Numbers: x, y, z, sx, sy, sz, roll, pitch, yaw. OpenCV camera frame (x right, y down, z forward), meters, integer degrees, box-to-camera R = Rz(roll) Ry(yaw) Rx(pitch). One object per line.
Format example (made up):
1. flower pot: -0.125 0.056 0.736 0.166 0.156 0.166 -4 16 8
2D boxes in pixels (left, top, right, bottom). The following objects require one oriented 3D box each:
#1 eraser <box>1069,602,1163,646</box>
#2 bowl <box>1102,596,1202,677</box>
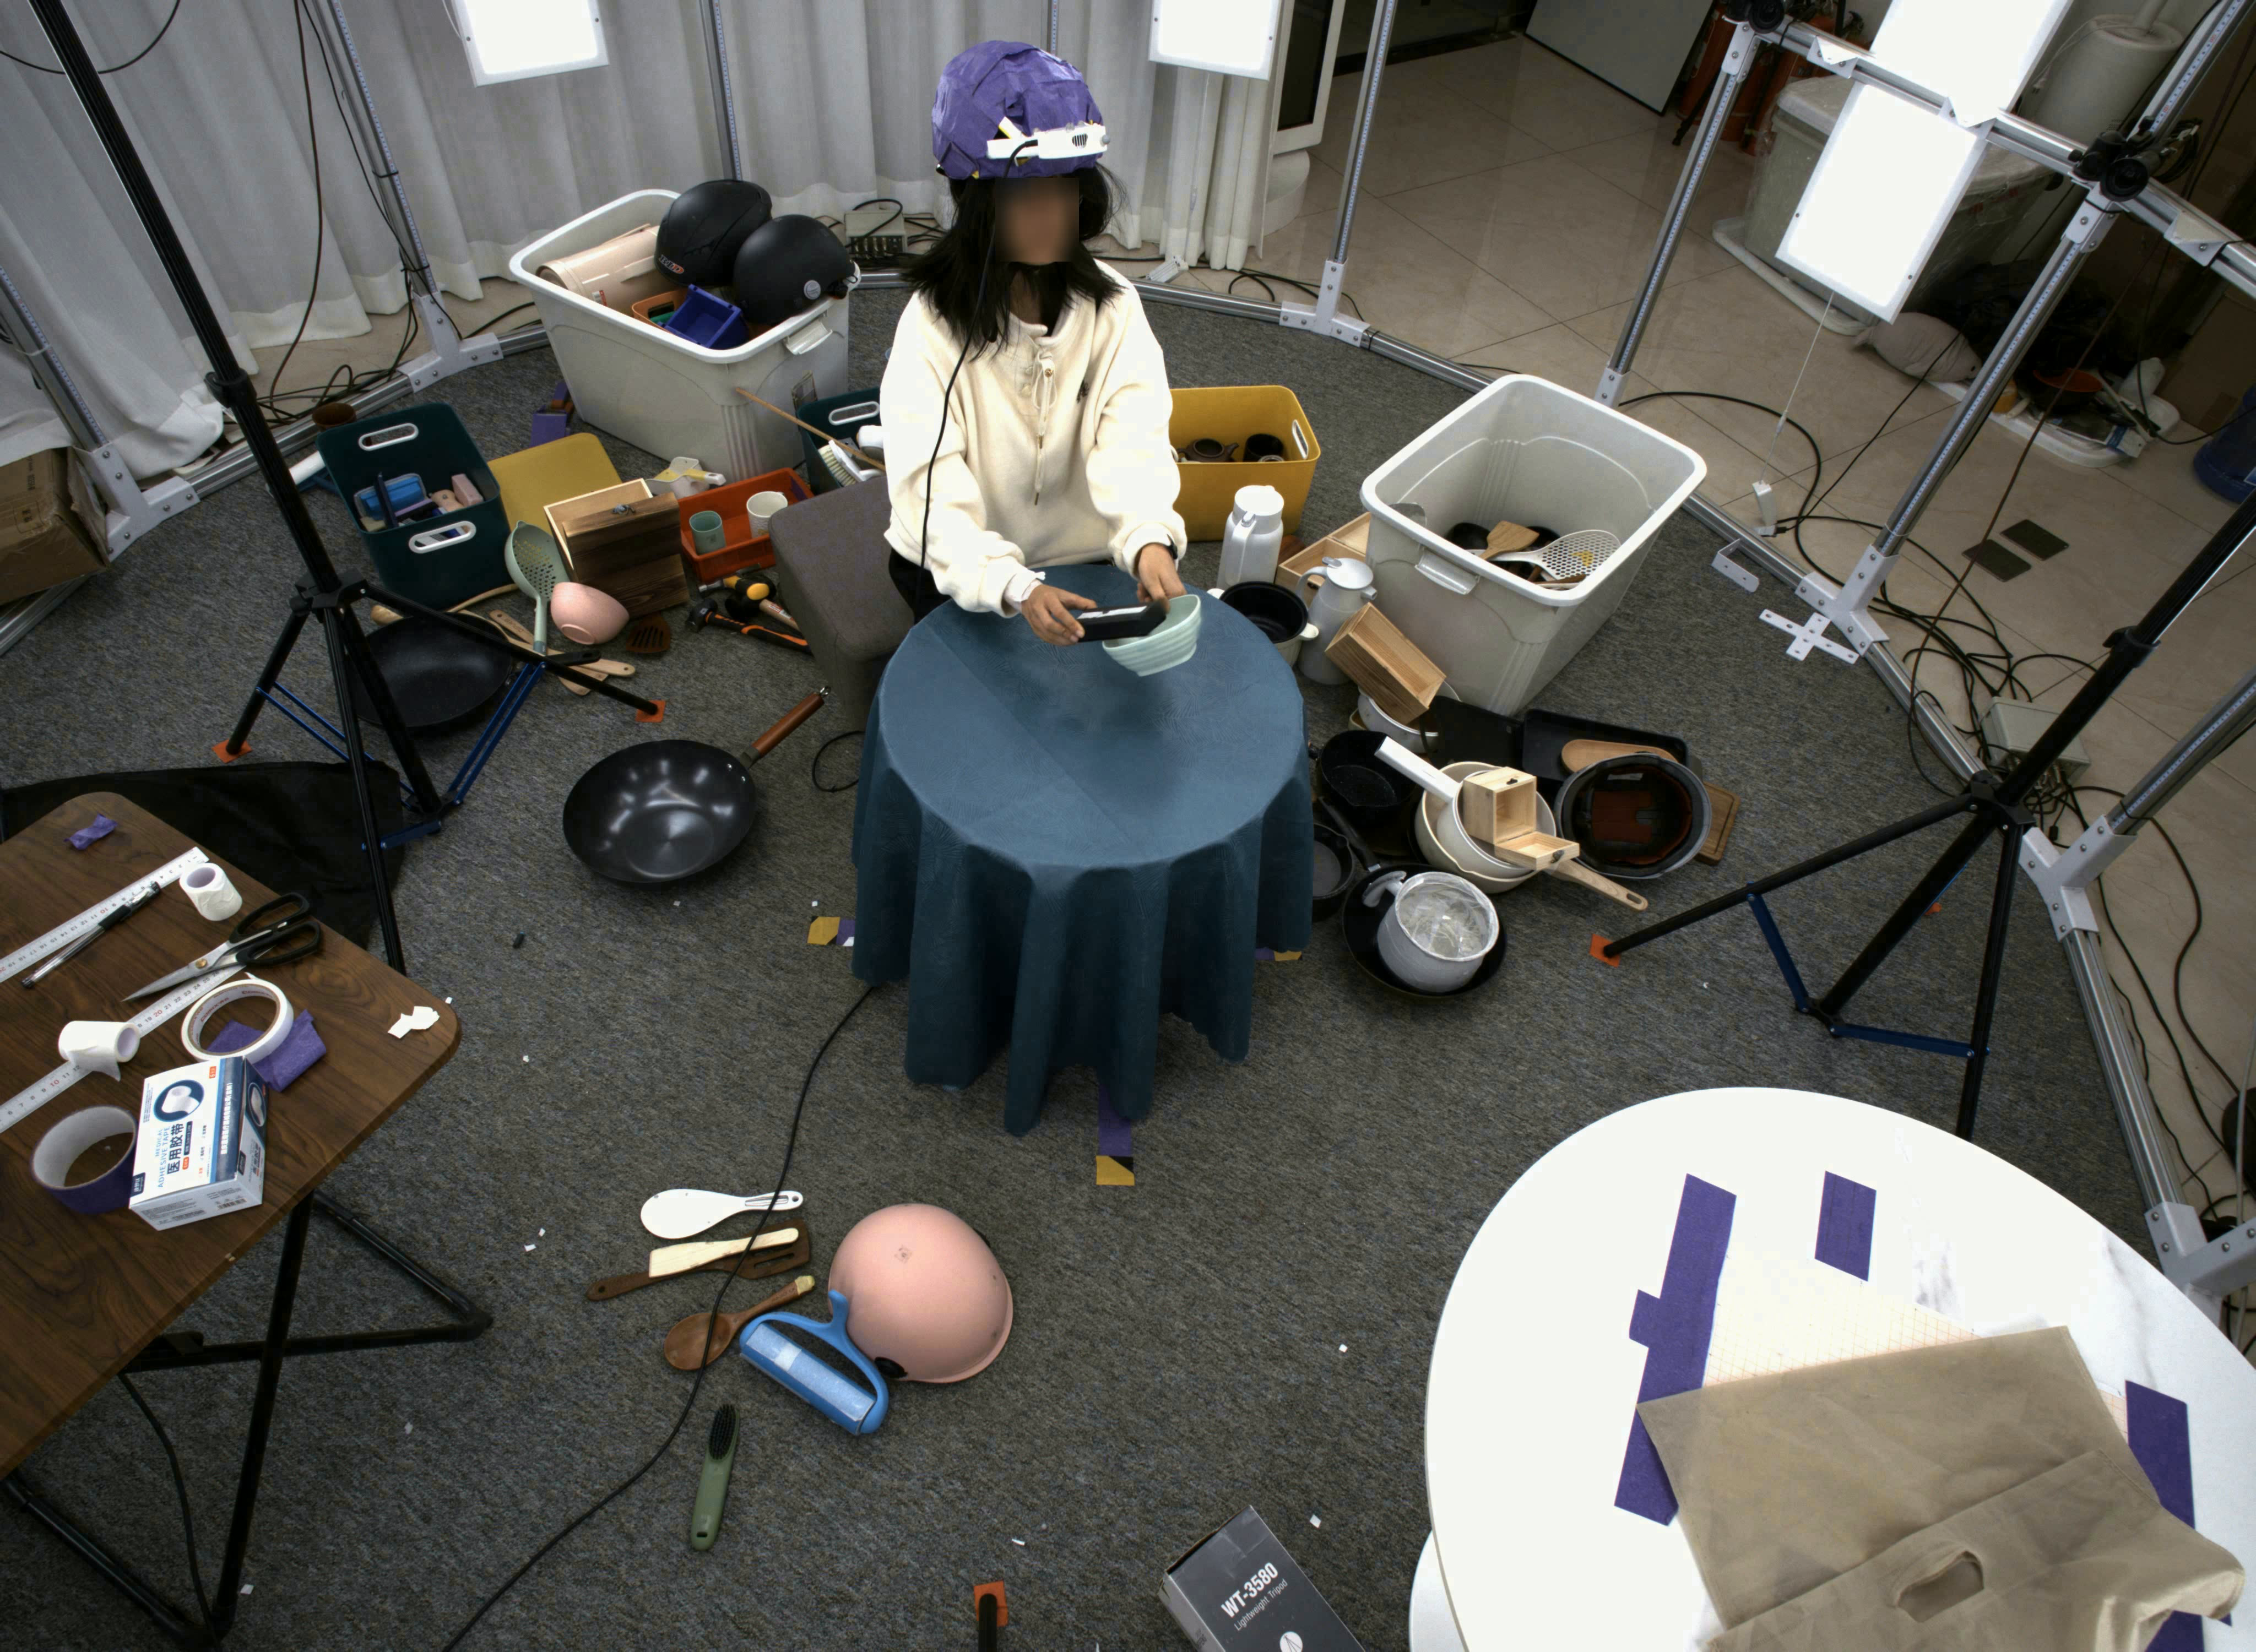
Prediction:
1. eraser: -0.016 -0.269 1.712 0.126 0.030 0.054 -2 32 40
2. bowl: 0.041 -0.247 1.712 0.151 0.057 0.154 -19 25 9
